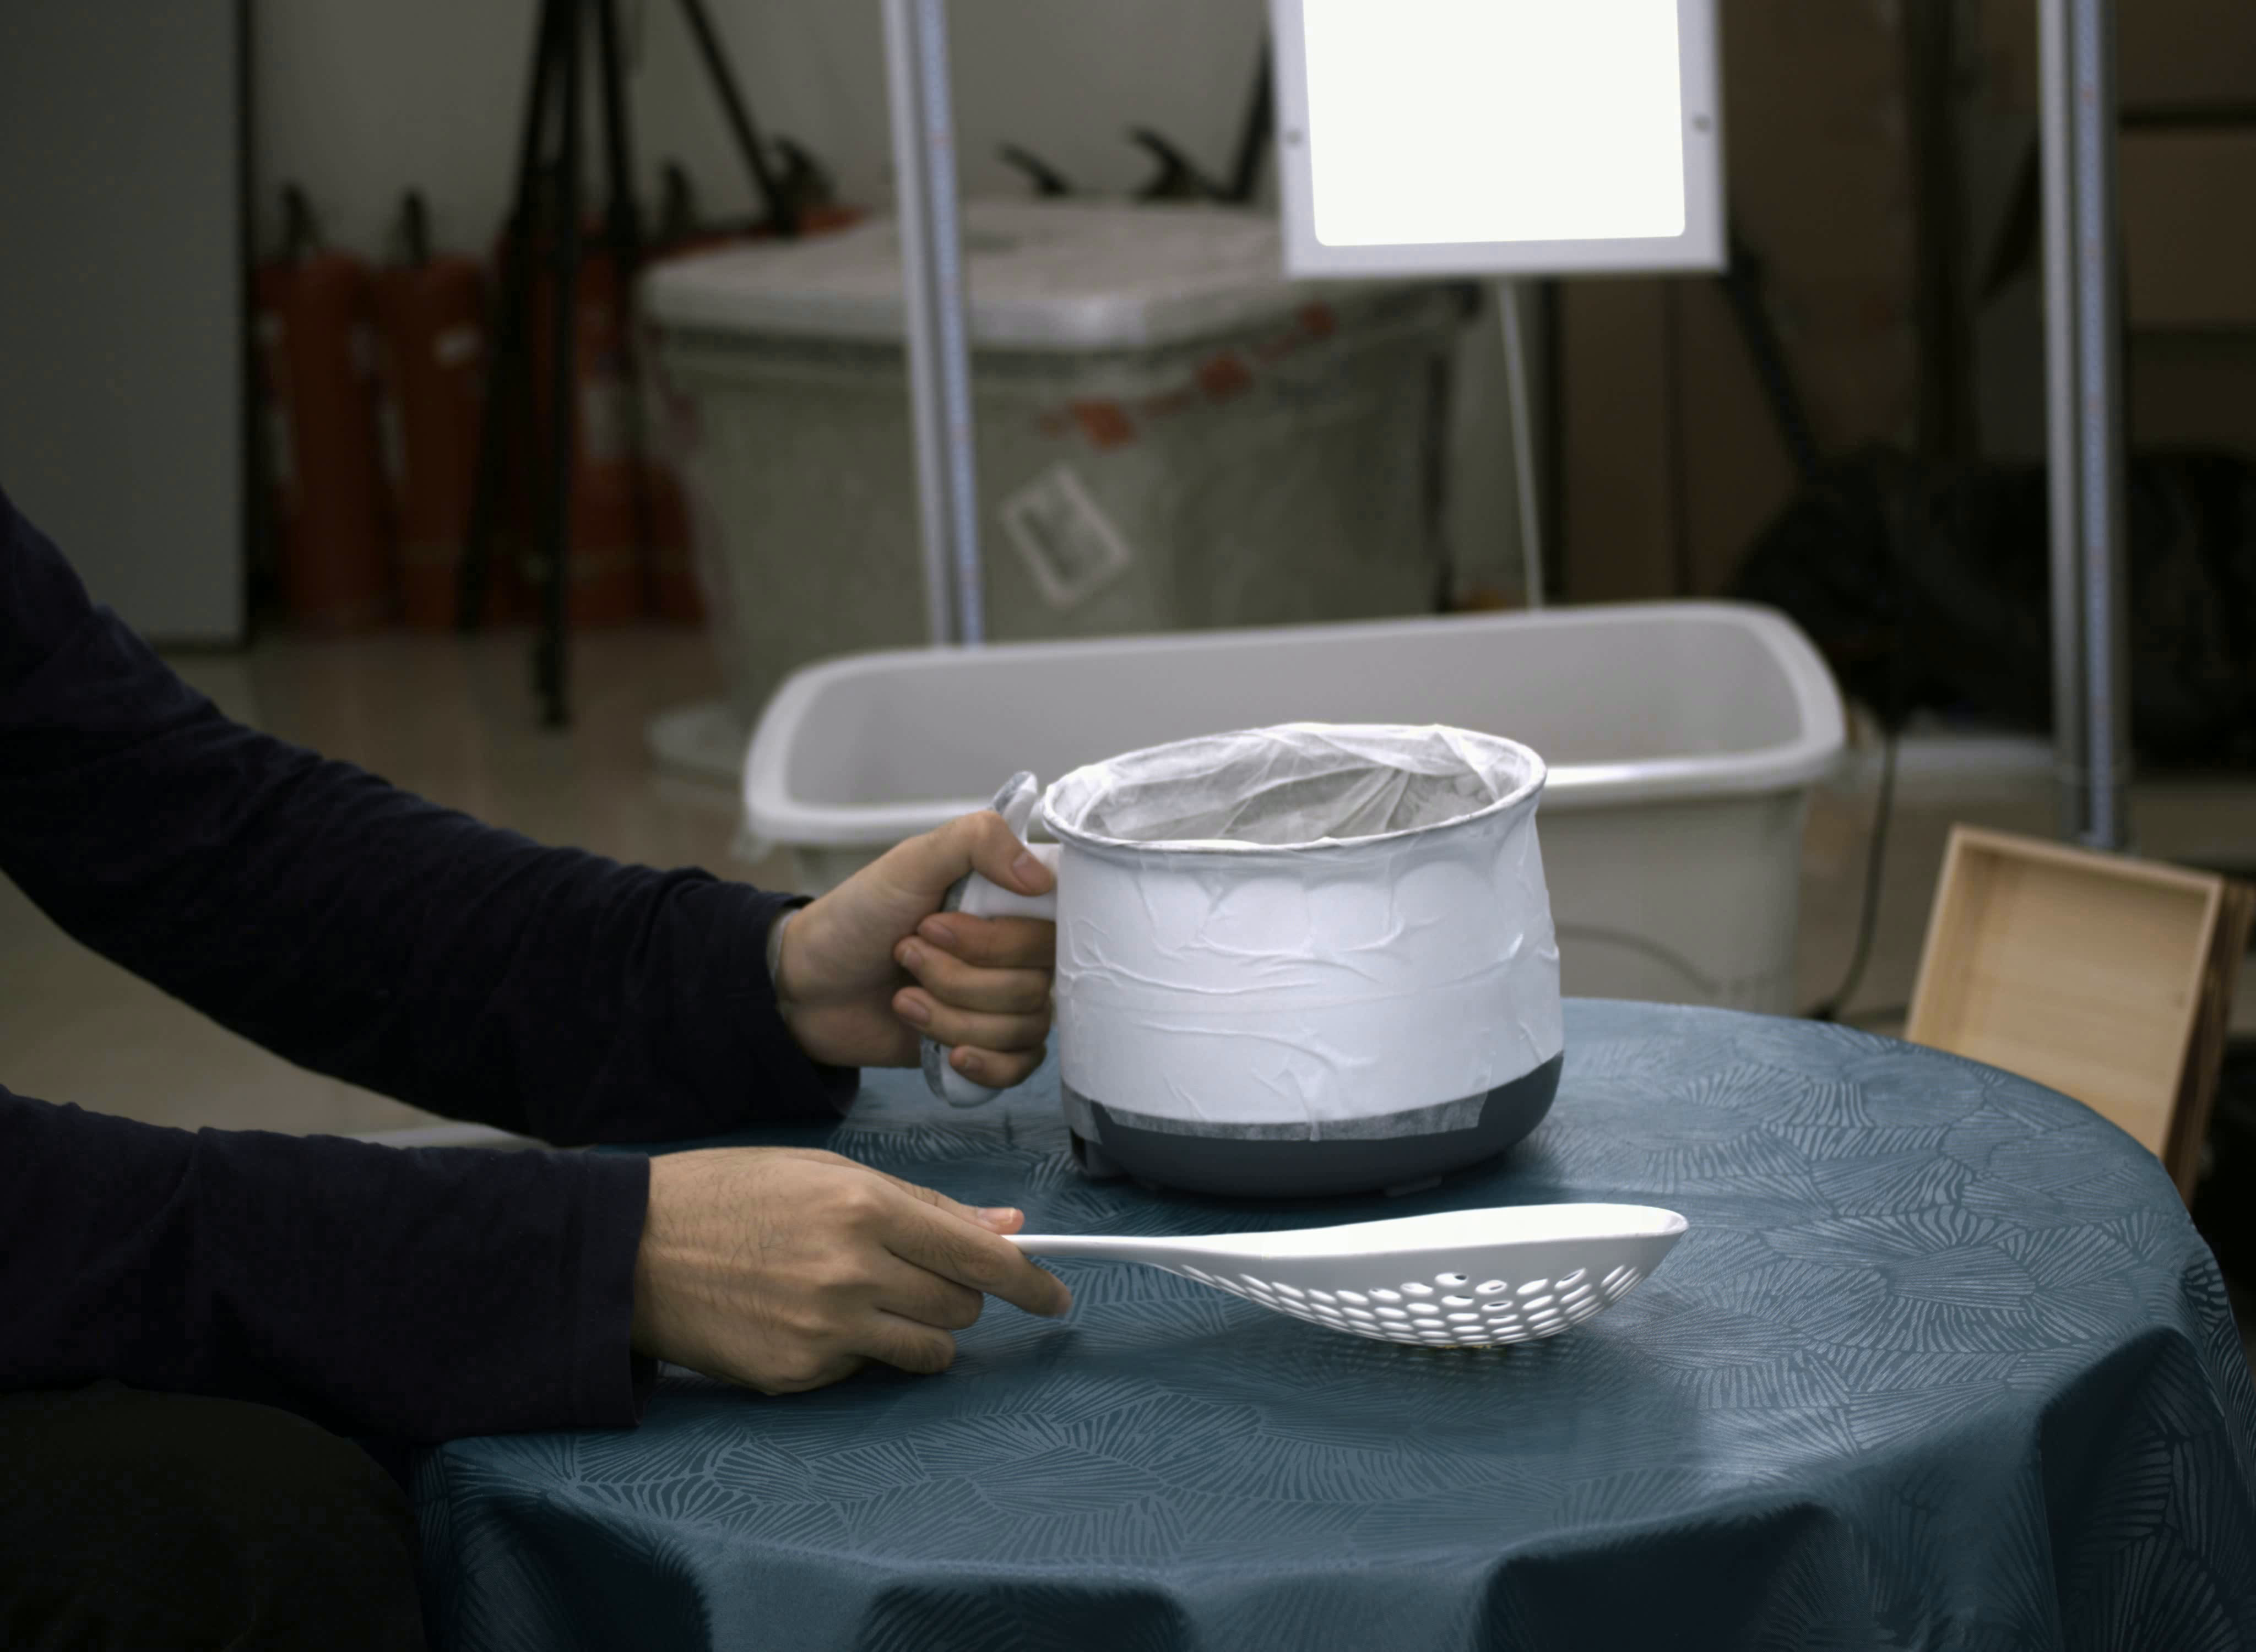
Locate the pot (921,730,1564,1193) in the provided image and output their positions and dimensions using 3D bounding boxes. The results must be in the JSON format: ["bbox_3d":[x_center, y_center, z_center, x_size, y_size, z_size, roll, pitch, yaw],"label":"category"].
[{"bbox_3d":[0.037,0.046,1.928,0.236,0.137,0.176,0,12,19],"label":"pot"}]

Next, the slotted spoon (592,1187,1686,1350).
[{"bbox_3d":[0.002,0.140,1.731,0.350,0.050,0.135,1,2,13],"label":"slotted spoon"}]
